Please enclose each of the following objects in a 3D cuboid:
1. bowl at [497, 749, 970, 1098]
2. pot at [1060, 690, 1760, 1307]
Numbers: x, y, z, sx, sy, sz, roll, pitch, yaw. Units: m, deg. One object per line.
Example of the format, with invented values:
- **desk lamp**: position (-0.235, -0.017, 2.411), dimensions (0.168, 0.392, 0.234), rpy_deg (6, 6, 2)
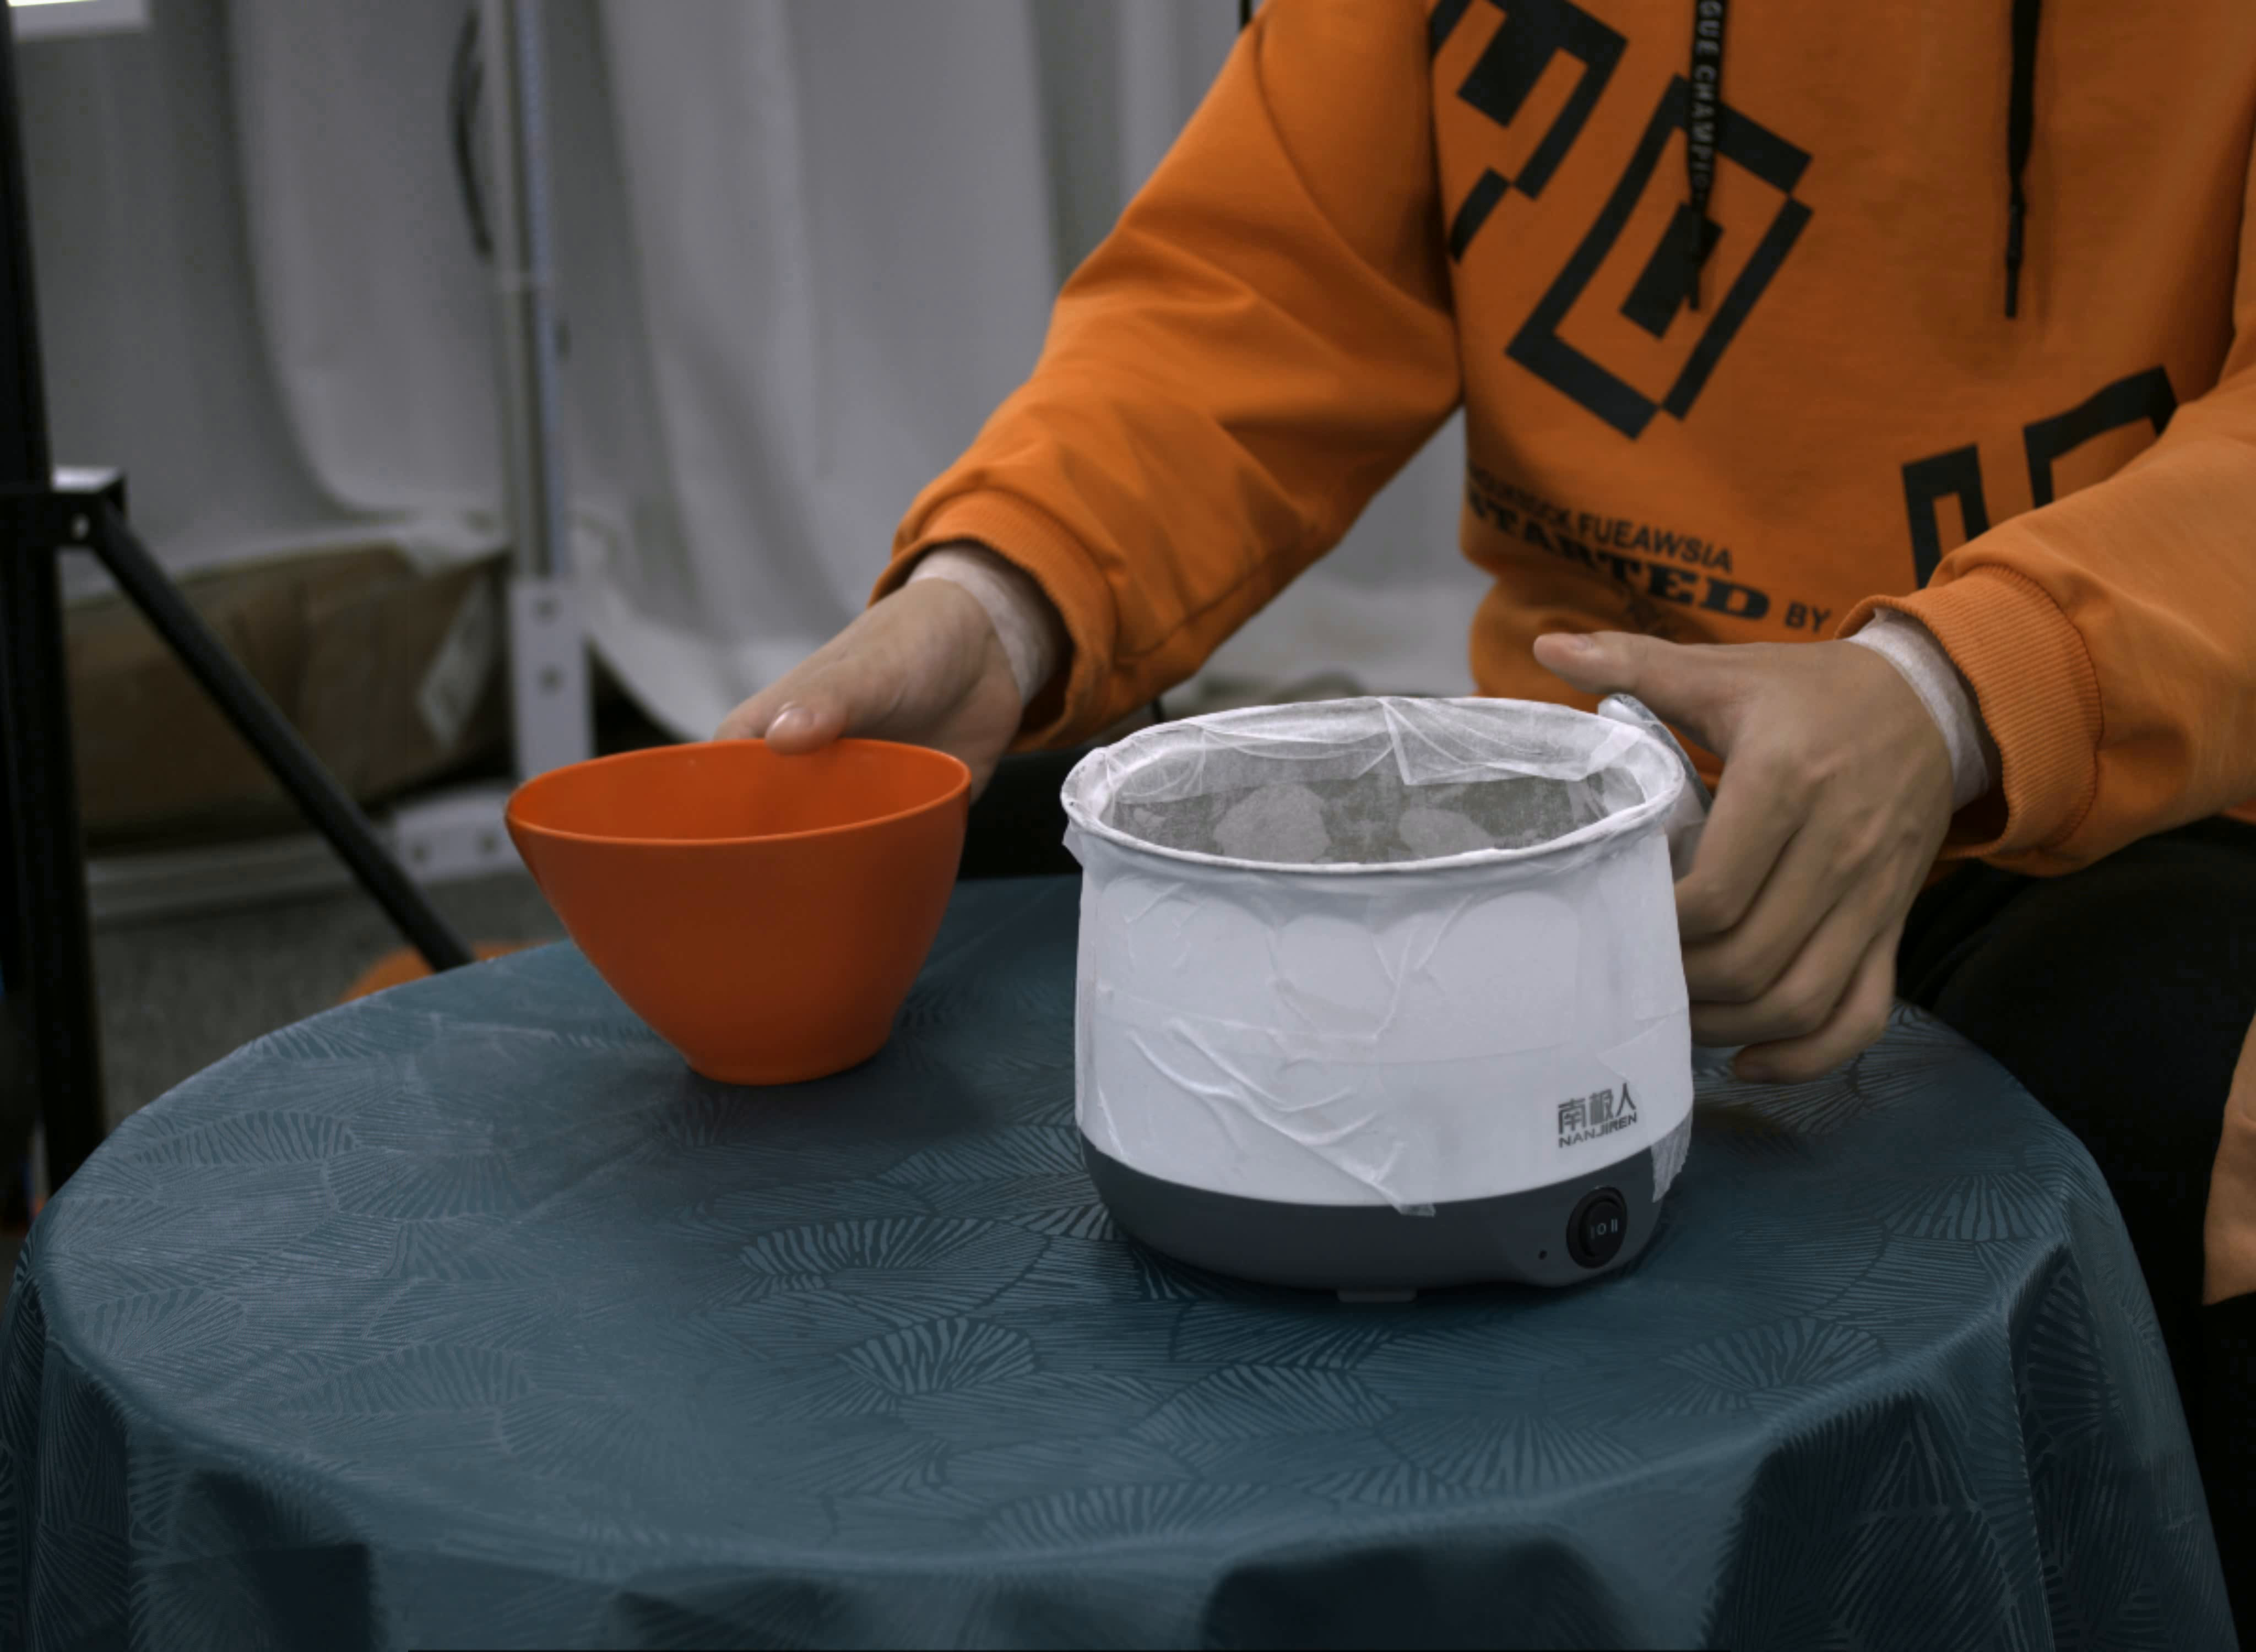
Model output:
- **bowl**: position (-0.119, 0.030, 1.673), dimensions (0.147, 0.104, 0.149), rpy_deg (-6, 20, 1)
- **pot**: position (0.092, 0.042, 1.525), dimensions (0.228, 0.136, 0.183), rpy_deg (-16, 21, -38)
